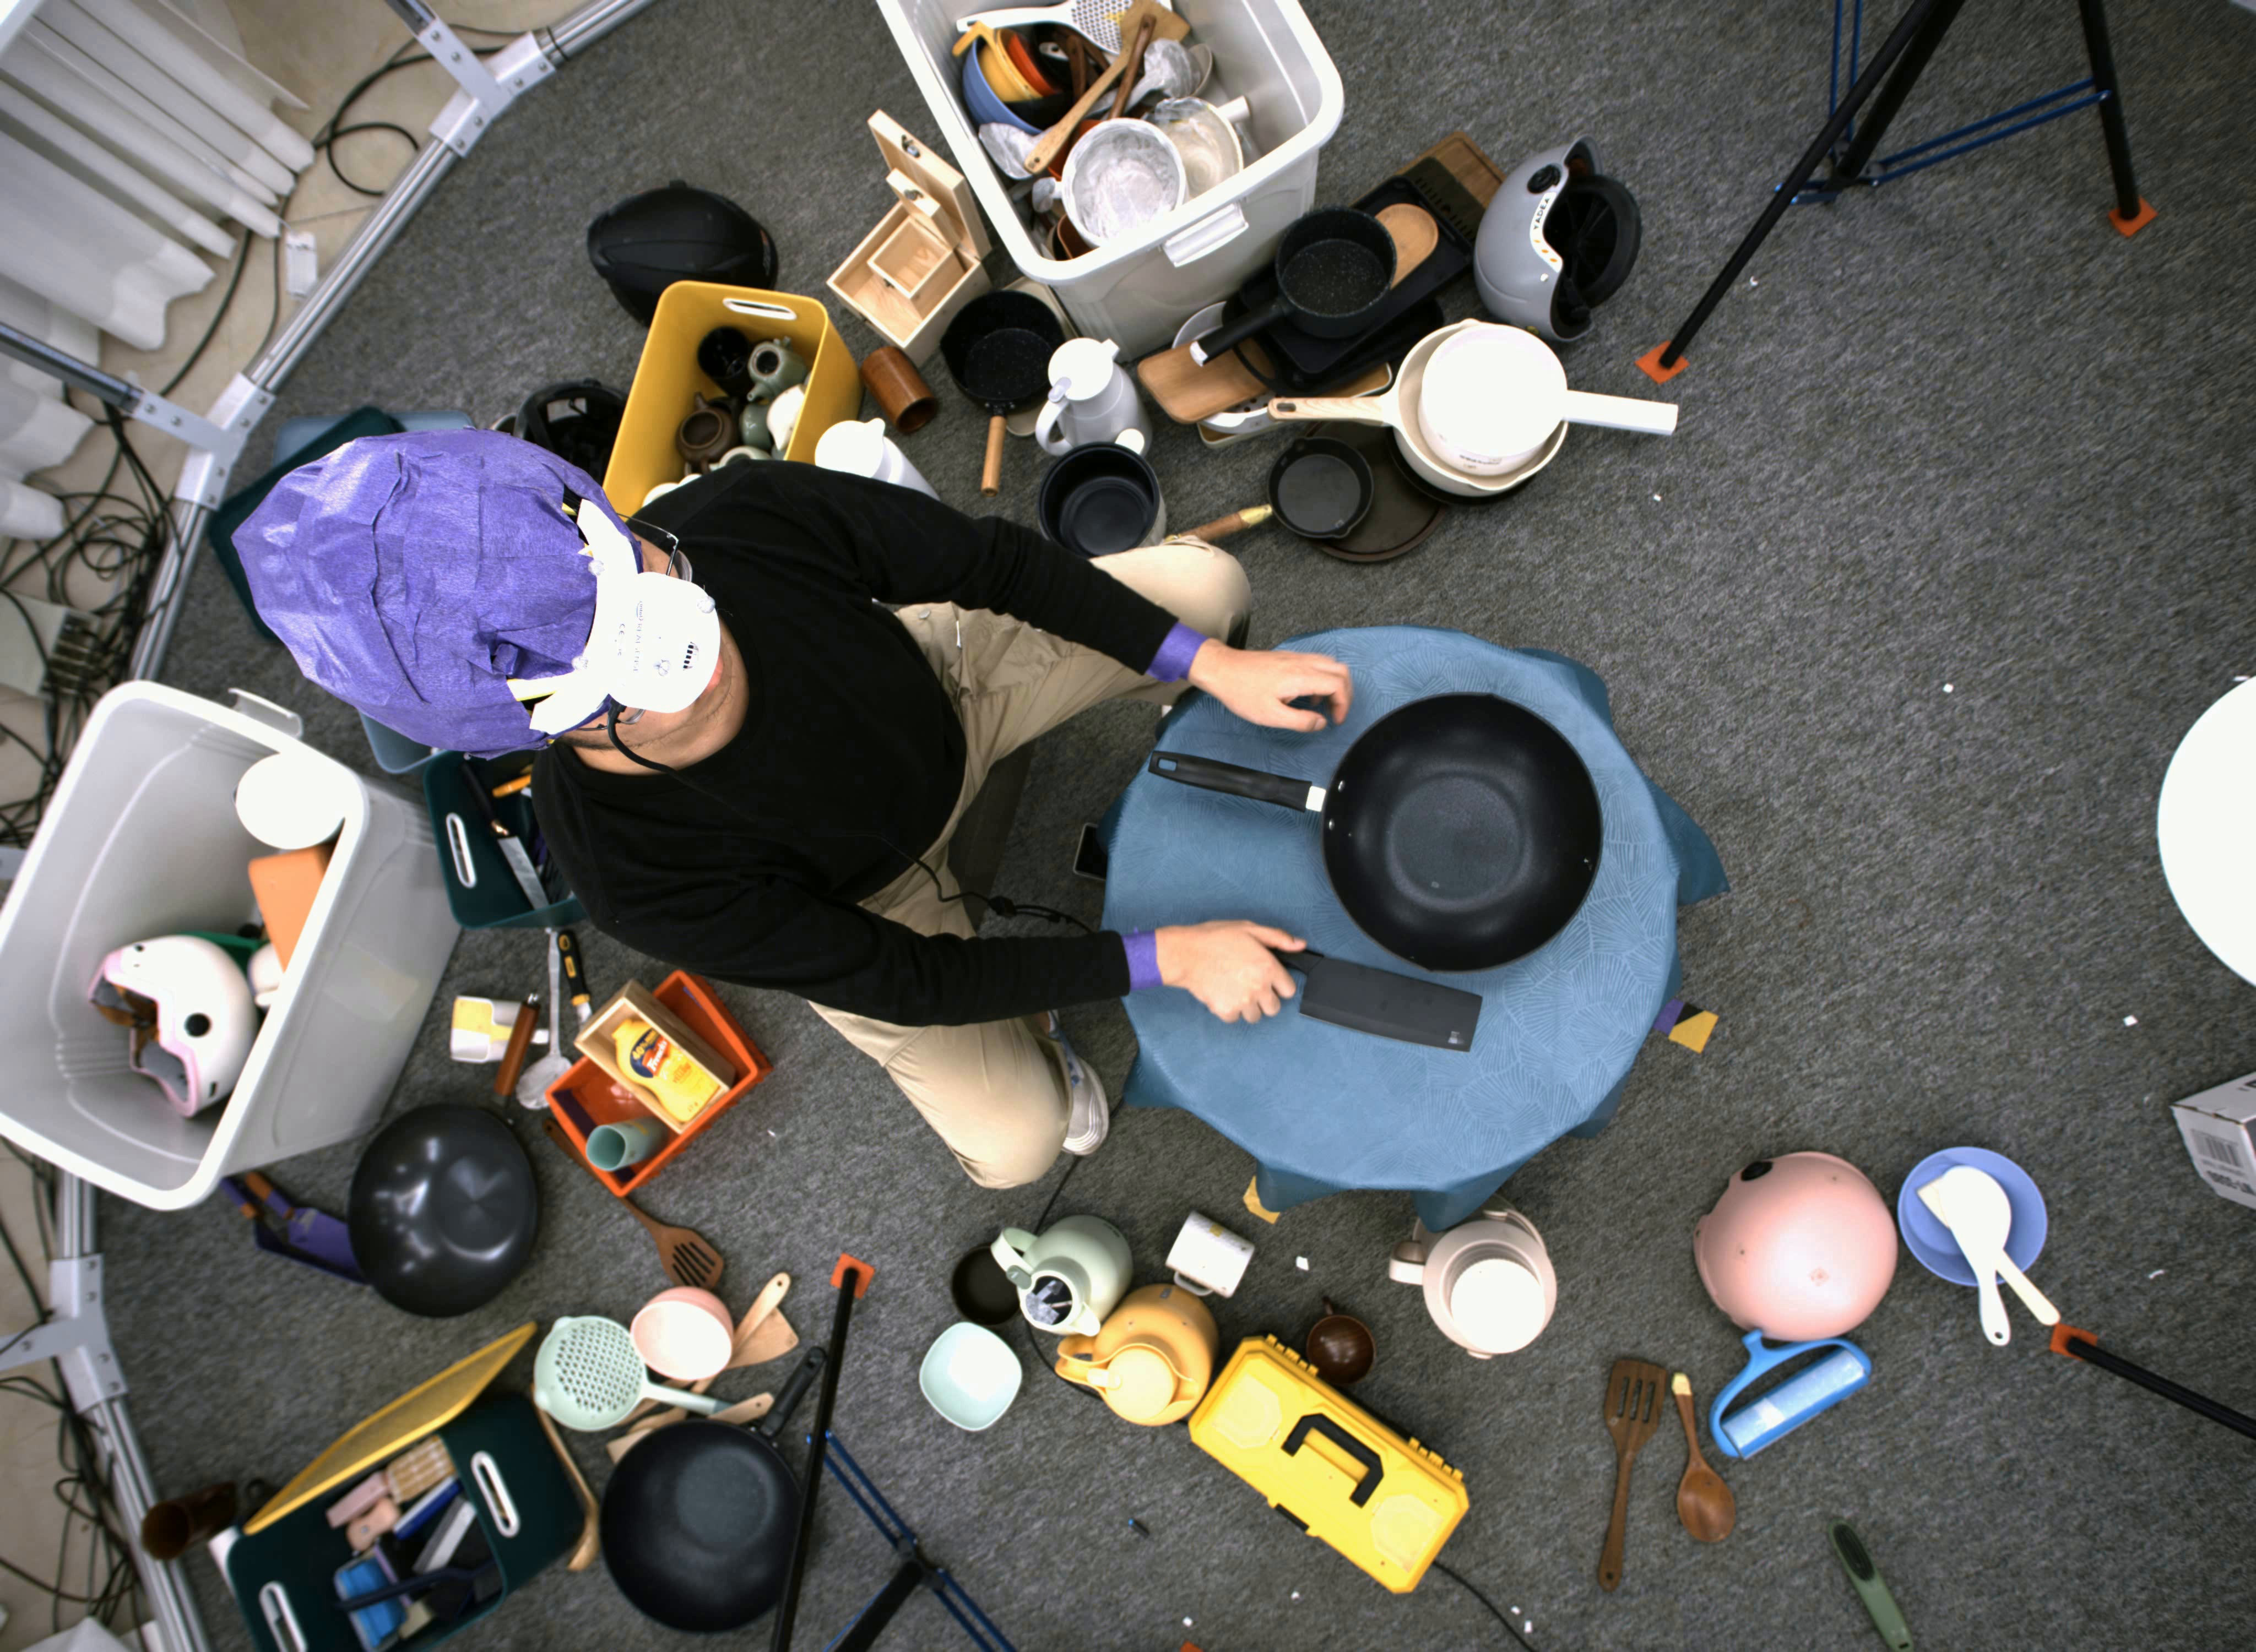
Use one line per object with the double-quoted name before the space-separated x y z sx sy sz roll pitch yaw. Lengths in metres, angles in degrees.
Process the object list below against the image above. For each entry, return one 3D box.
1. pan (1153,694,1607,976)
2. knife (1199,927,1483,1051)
"pan" 0.253 -0.012 1.427 0.464 0.087 0.288 14 90 12
"knife" 0.221 0.167 1.459 0.302 0.021 0.081 18 92 9
